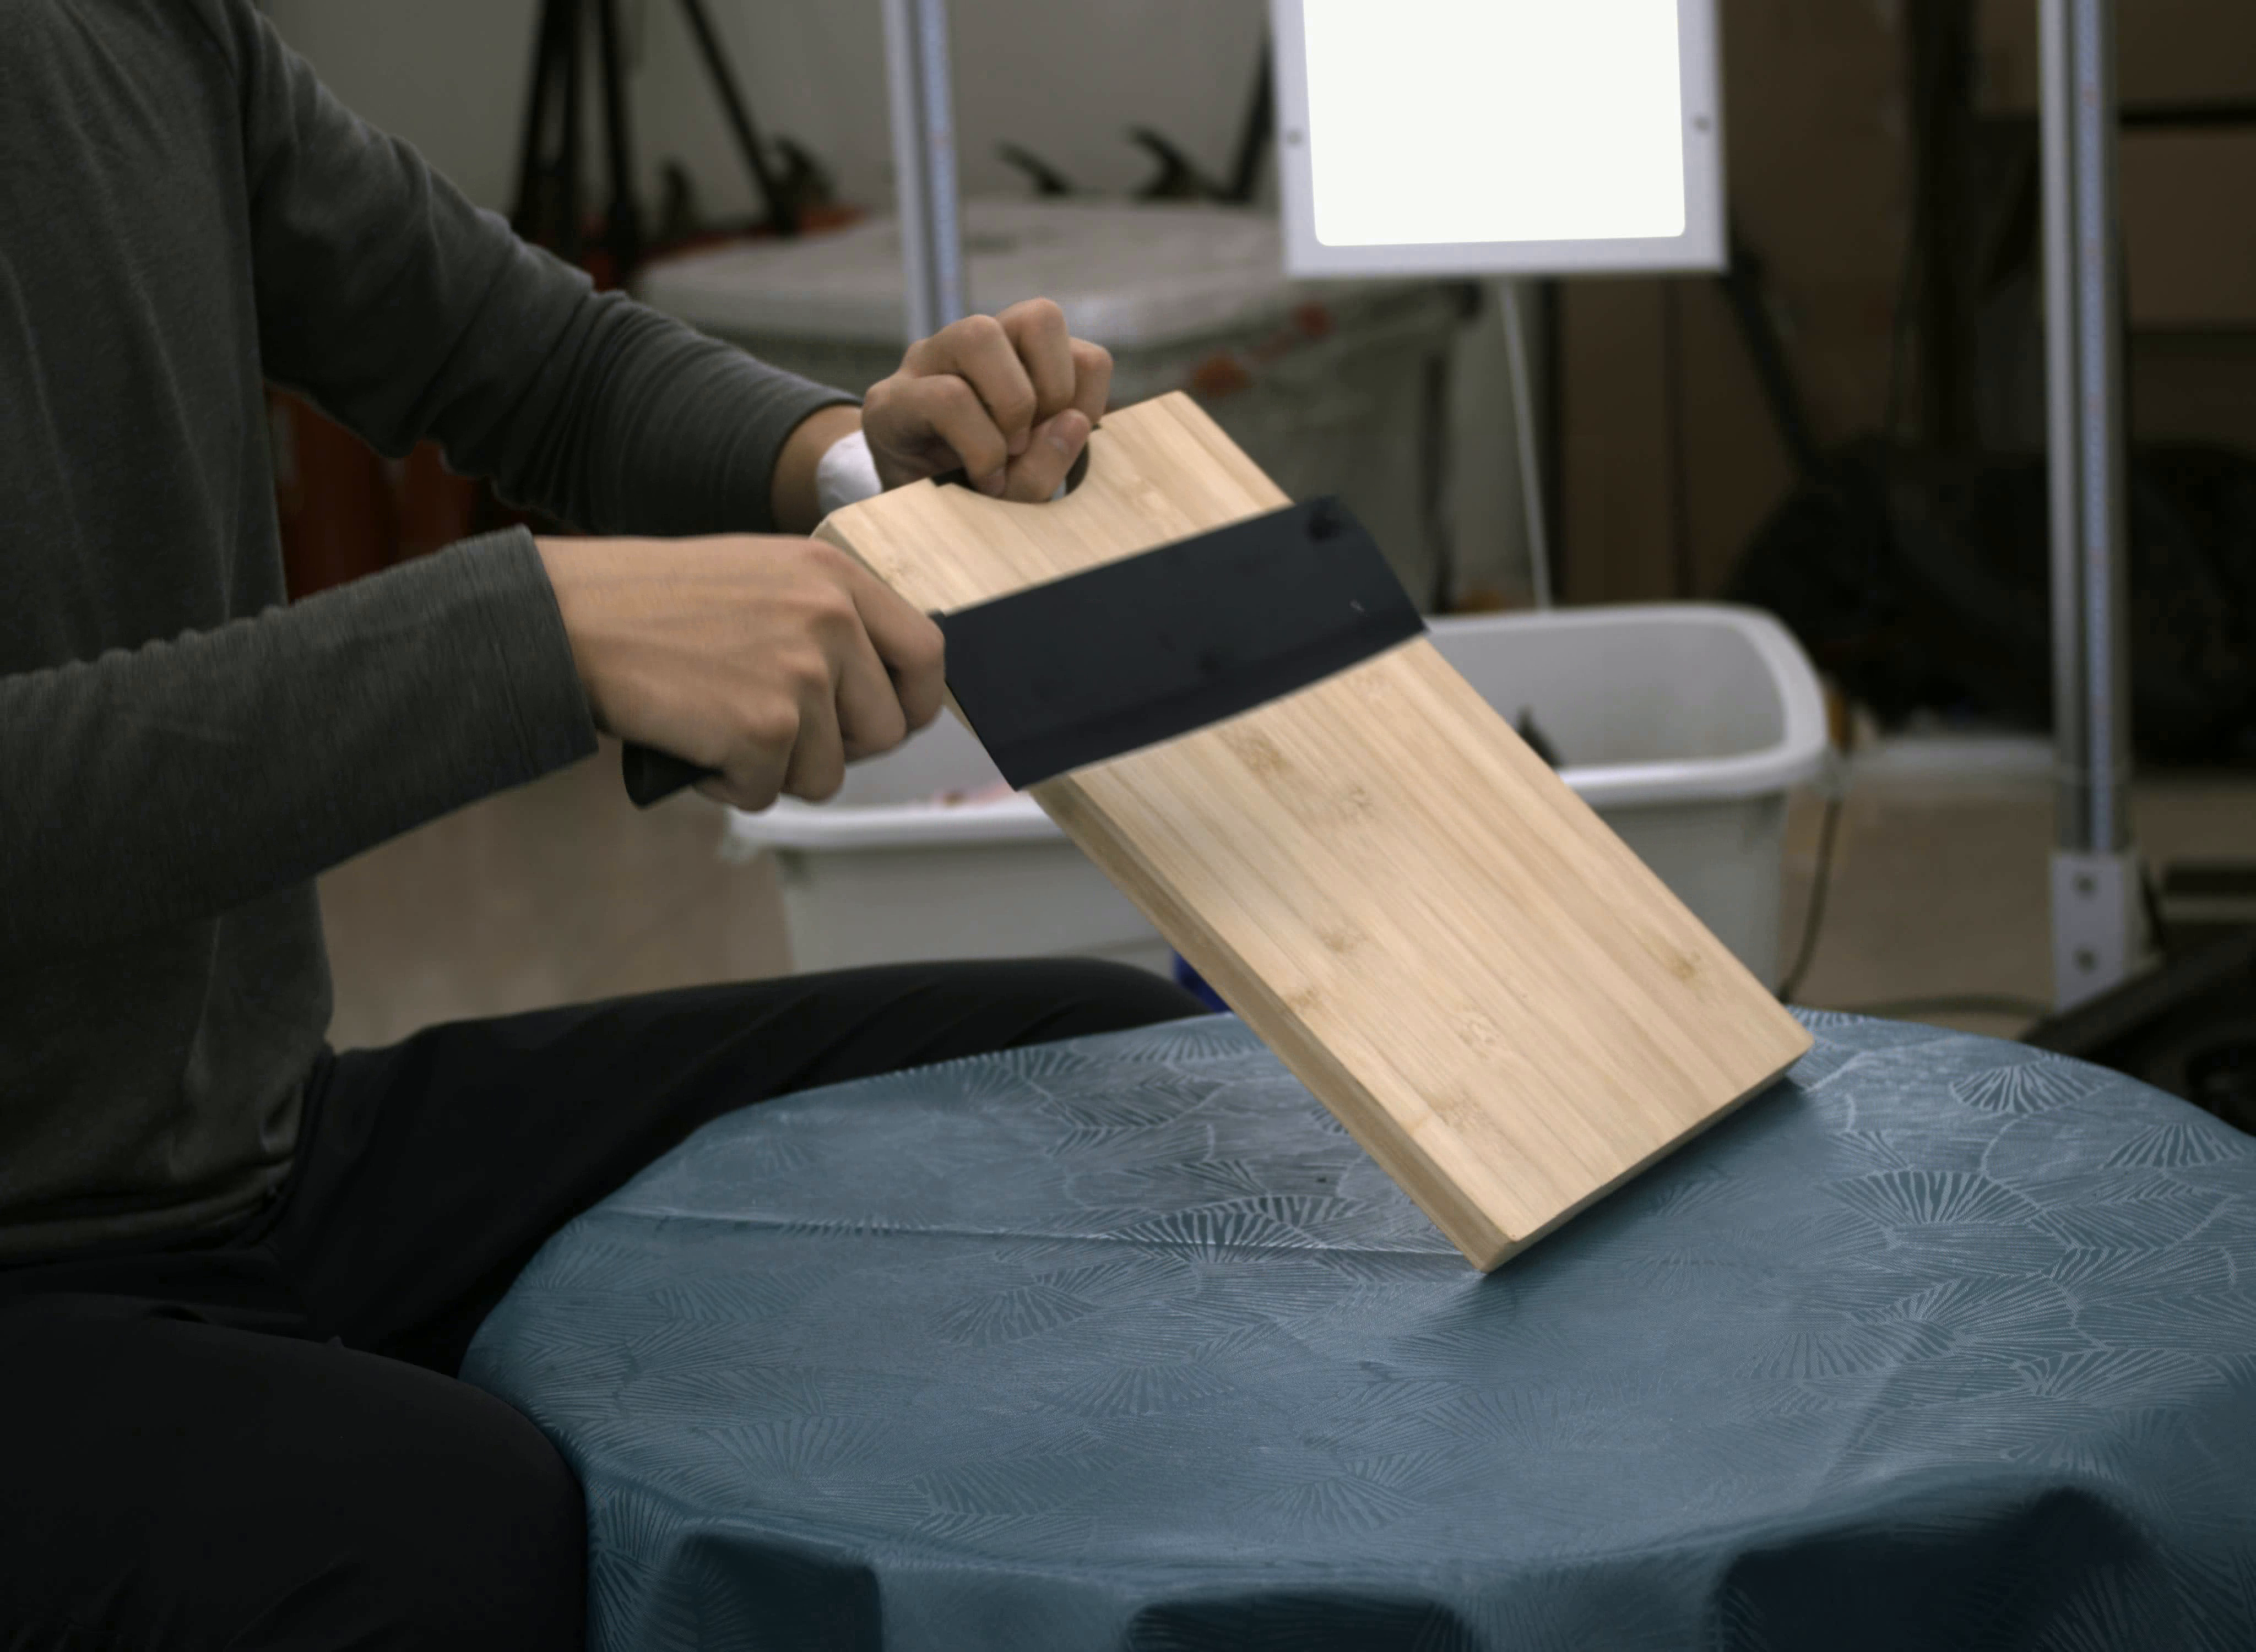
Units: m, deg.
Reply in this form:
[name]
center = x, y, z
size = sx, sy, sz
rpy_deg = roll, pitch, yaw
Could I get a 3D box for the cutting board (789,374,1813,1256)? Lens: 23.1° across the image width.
[cutting board]
center = 0.065, -0.012, 1.913
size = 0.351, 0.024, 0.245
rpy_deg = 46, 33, 13

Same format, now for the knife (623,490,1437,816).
[knife]
center = -0.030, -0.048, 1.761
size = 0.295, 0.081, 0.021
rpy_deg = -15, -25, -29
